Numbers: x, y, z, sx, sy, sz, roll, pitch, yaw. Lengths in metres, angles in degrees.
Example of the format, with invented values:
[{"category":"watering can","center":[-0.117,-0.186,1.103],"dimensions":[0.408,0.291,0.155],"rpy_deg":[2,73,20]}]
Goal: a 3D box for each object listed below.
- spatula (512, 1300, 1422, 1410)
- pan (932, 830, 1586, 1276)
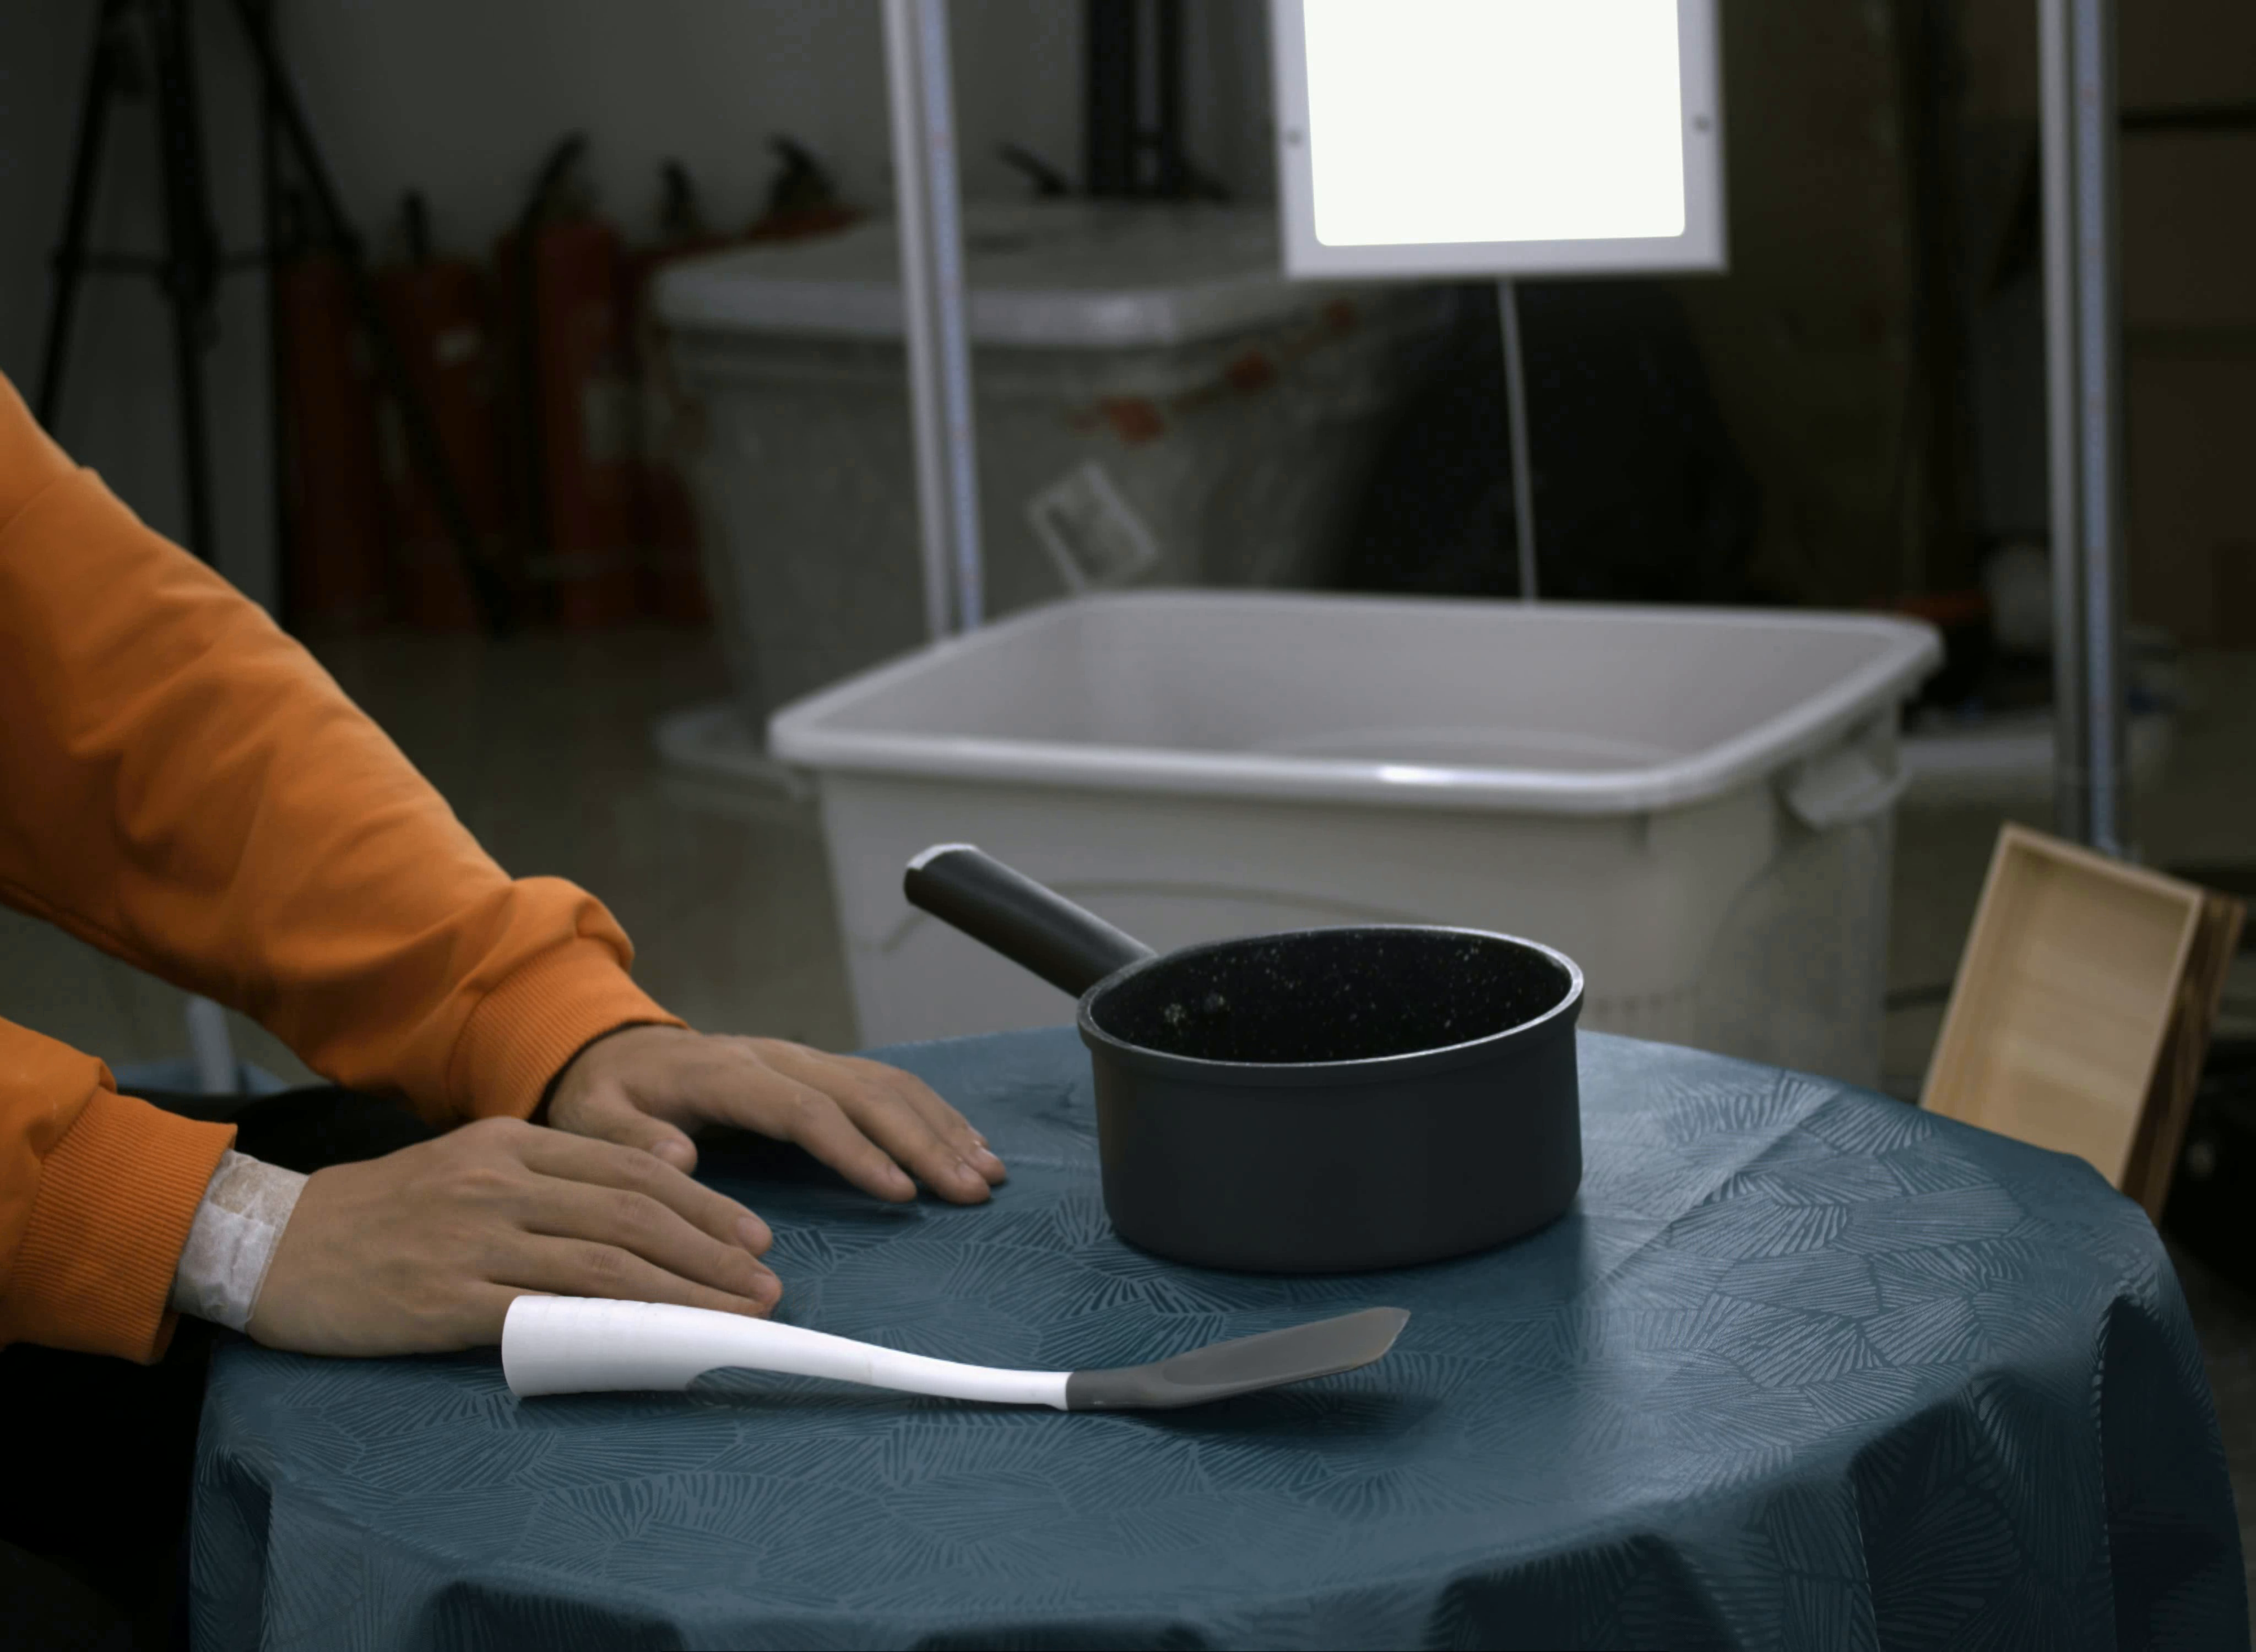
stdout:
[{"category":"spatula","center":[-0.051,0.163,1.699],"dimensions":[0.291,0.032,0.058],"rpy_deg":[-1,11,18]},{"category":"pan","center":[0.027,0.074,1.920],"dimensions":[0.168,0.087,0.335],"rpy_deg":[-12,17,-30]}]
